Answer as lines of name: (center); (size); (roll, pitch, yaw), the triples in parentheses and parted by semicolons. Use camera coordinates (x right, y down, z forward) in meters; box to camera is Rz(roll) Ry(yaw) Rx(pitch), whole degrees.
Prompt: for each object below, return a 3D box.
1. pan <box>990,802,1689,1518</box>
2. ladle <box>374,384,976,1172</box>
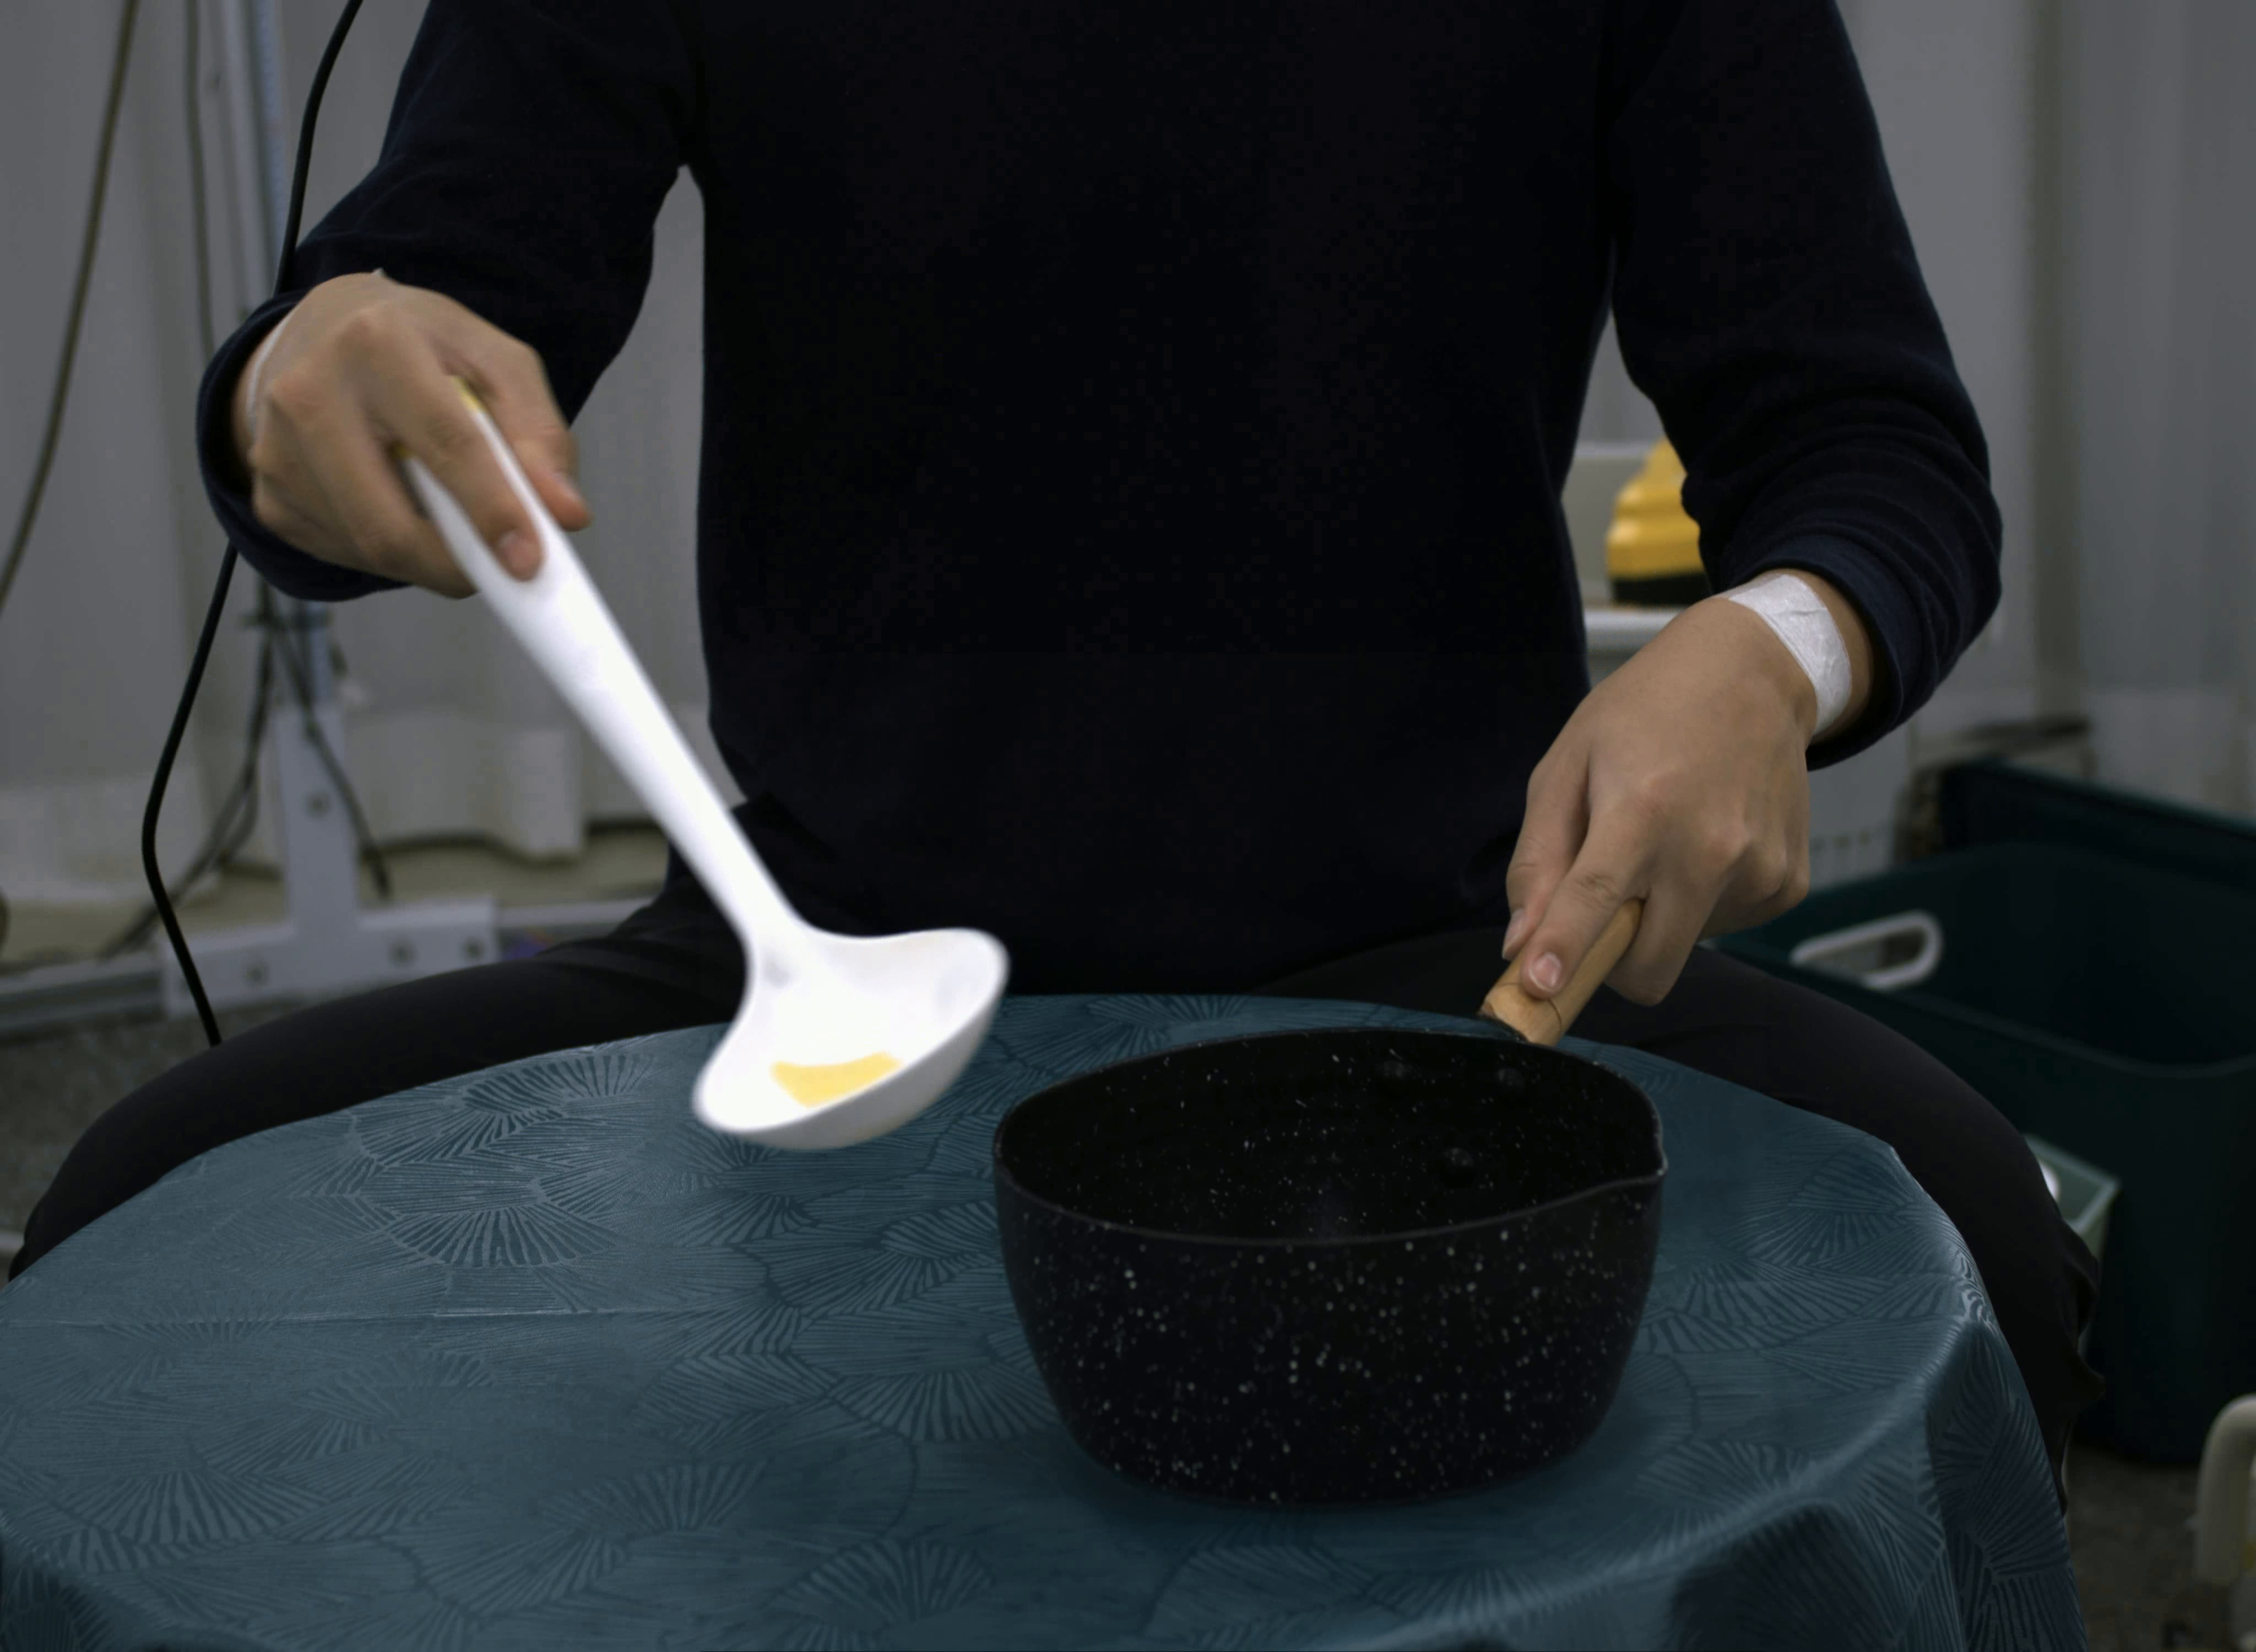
pan: (0.090, 0.091, 1.576); (0.208, 0.108, 0.344); (3, 18, 26)
ladle: (-0.135, -0.021, 1.505); (0.090, 0.069, 0.297); (-35, 61, -1)
